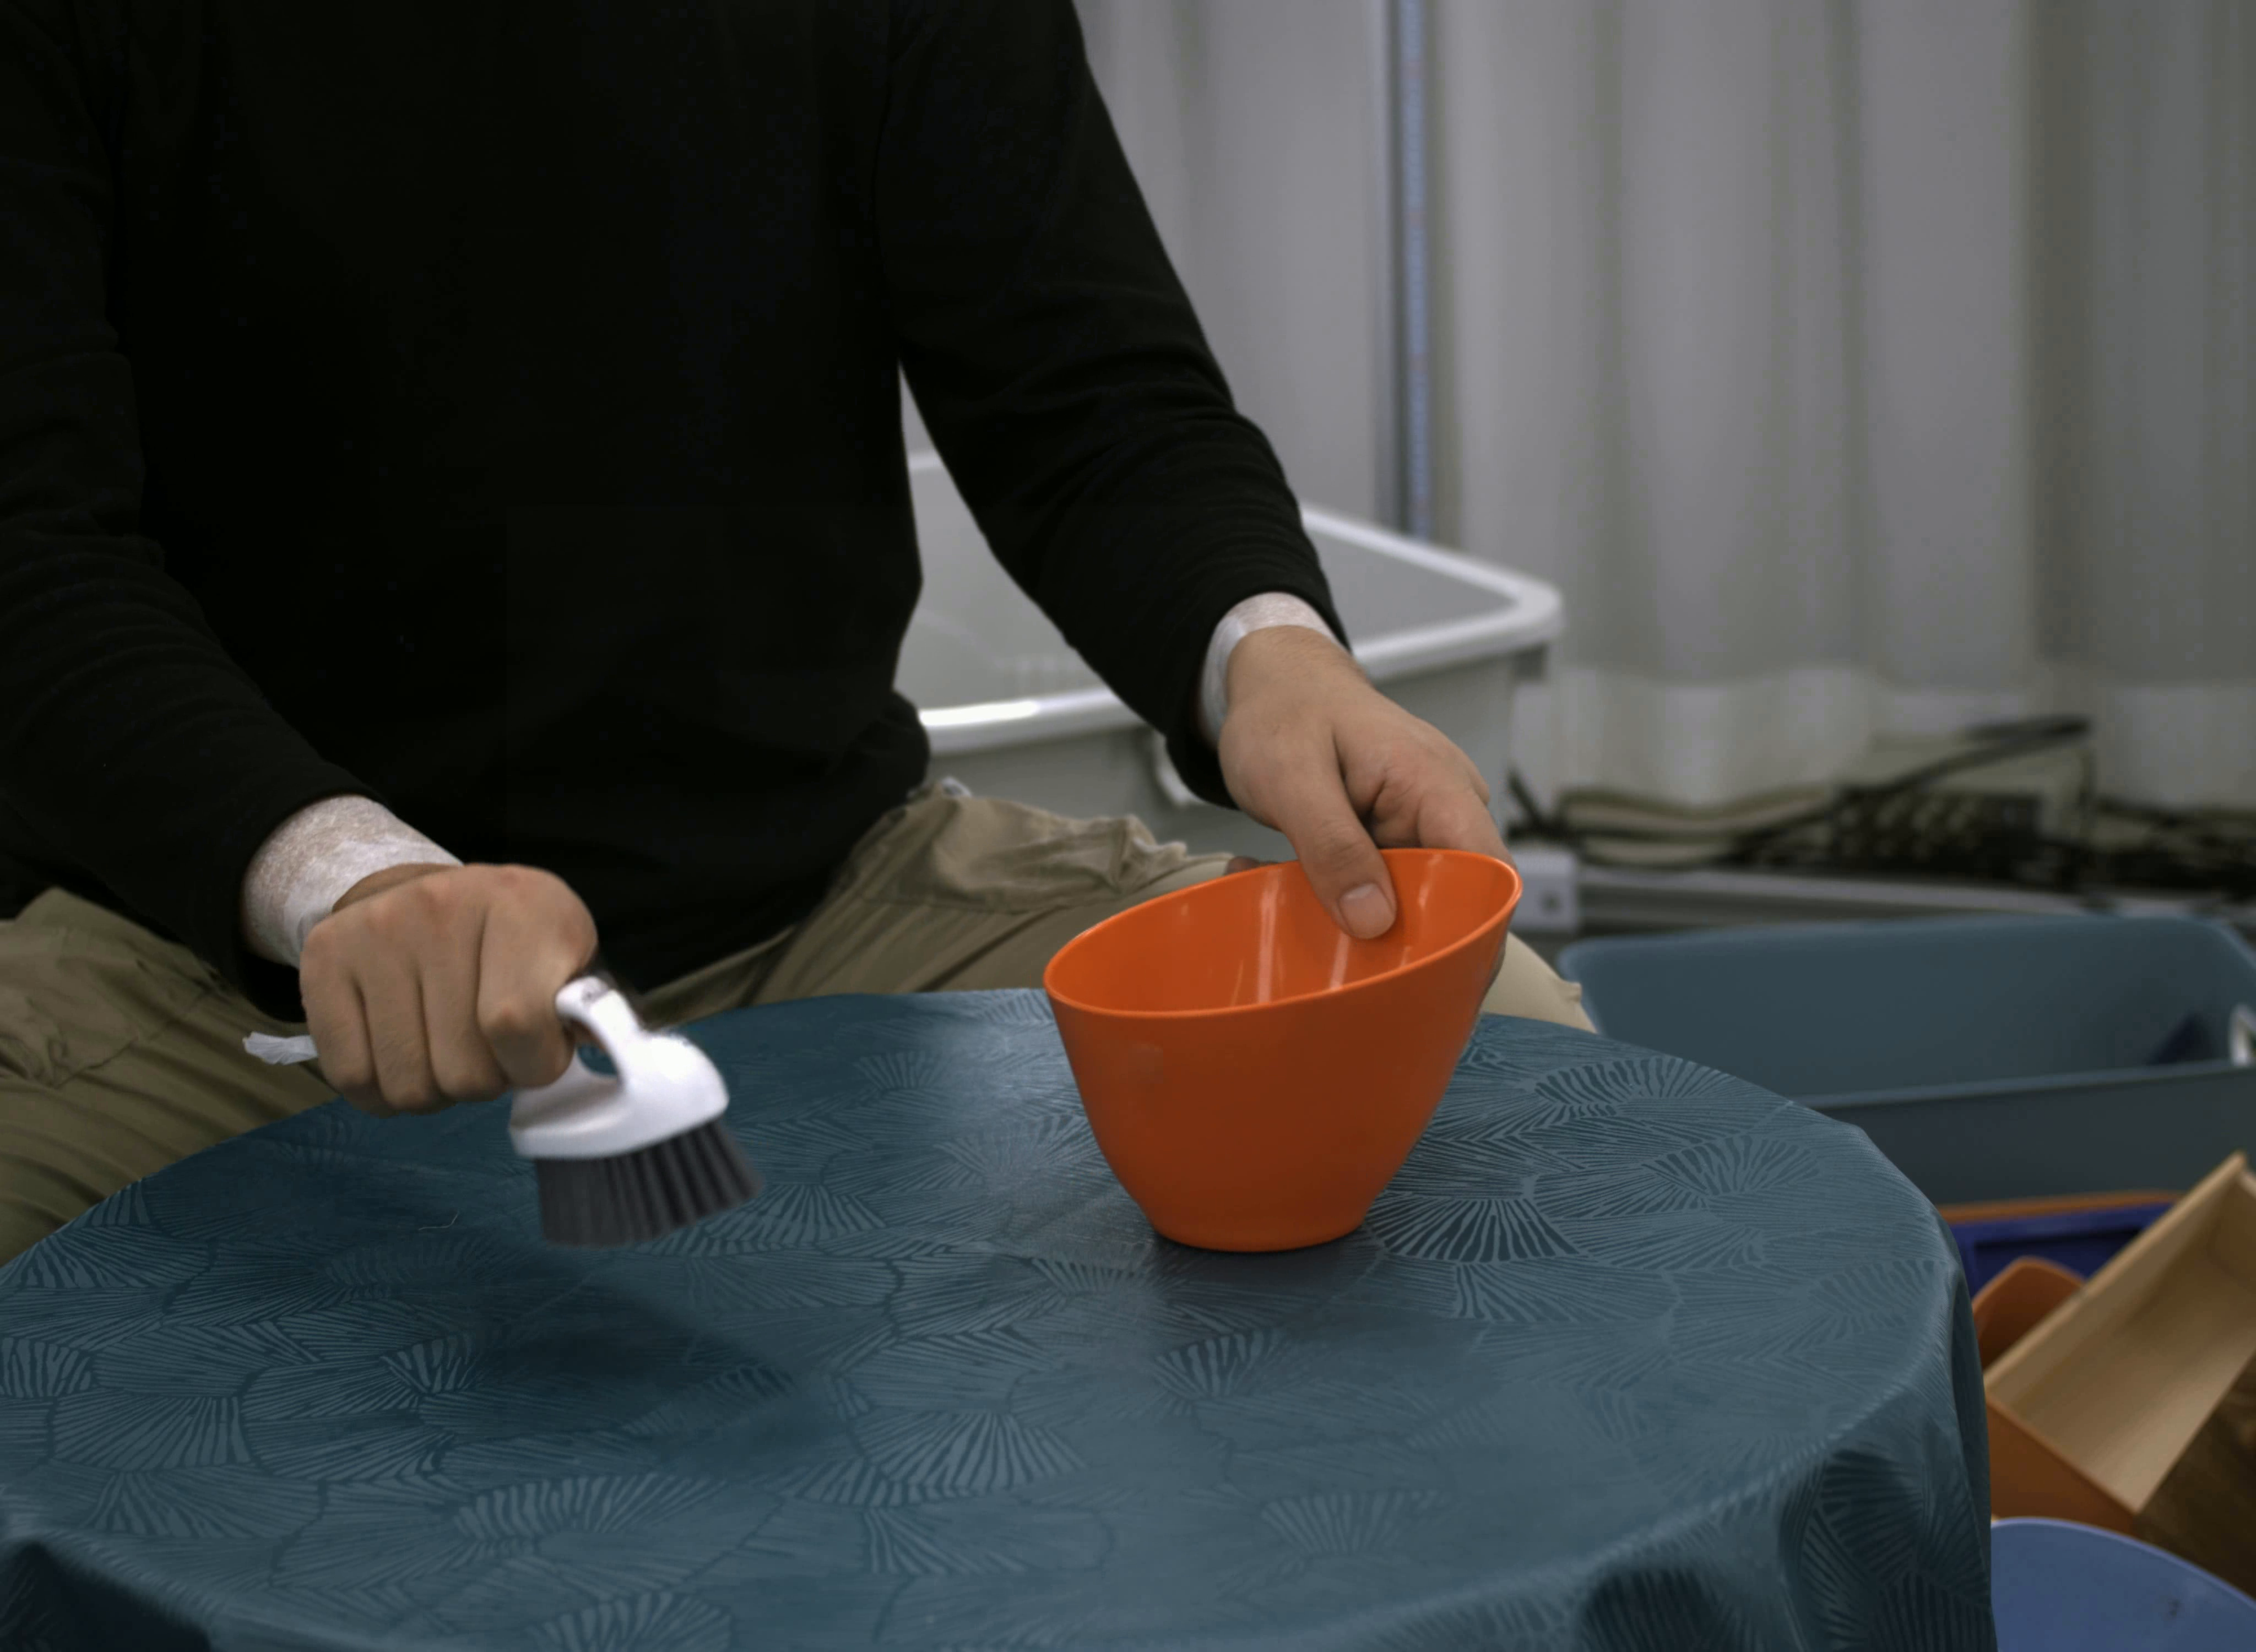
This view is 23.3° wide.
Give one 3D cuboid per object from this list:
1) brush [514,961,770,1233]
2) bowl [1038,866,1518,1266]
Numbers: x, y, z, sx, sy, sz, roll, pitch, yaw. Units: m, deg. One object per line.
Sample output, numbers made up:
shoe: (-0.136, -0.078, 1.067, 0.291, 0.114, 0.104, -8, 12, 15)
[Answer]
brush: (-0.148, 0.074, 1.574, 0.050, 0.072, 0.099, -25, 7, -24)
bowl: (0.048, 0.075, 1.668, 0.147, 0.104, 0.149, -3, 11, 0)
